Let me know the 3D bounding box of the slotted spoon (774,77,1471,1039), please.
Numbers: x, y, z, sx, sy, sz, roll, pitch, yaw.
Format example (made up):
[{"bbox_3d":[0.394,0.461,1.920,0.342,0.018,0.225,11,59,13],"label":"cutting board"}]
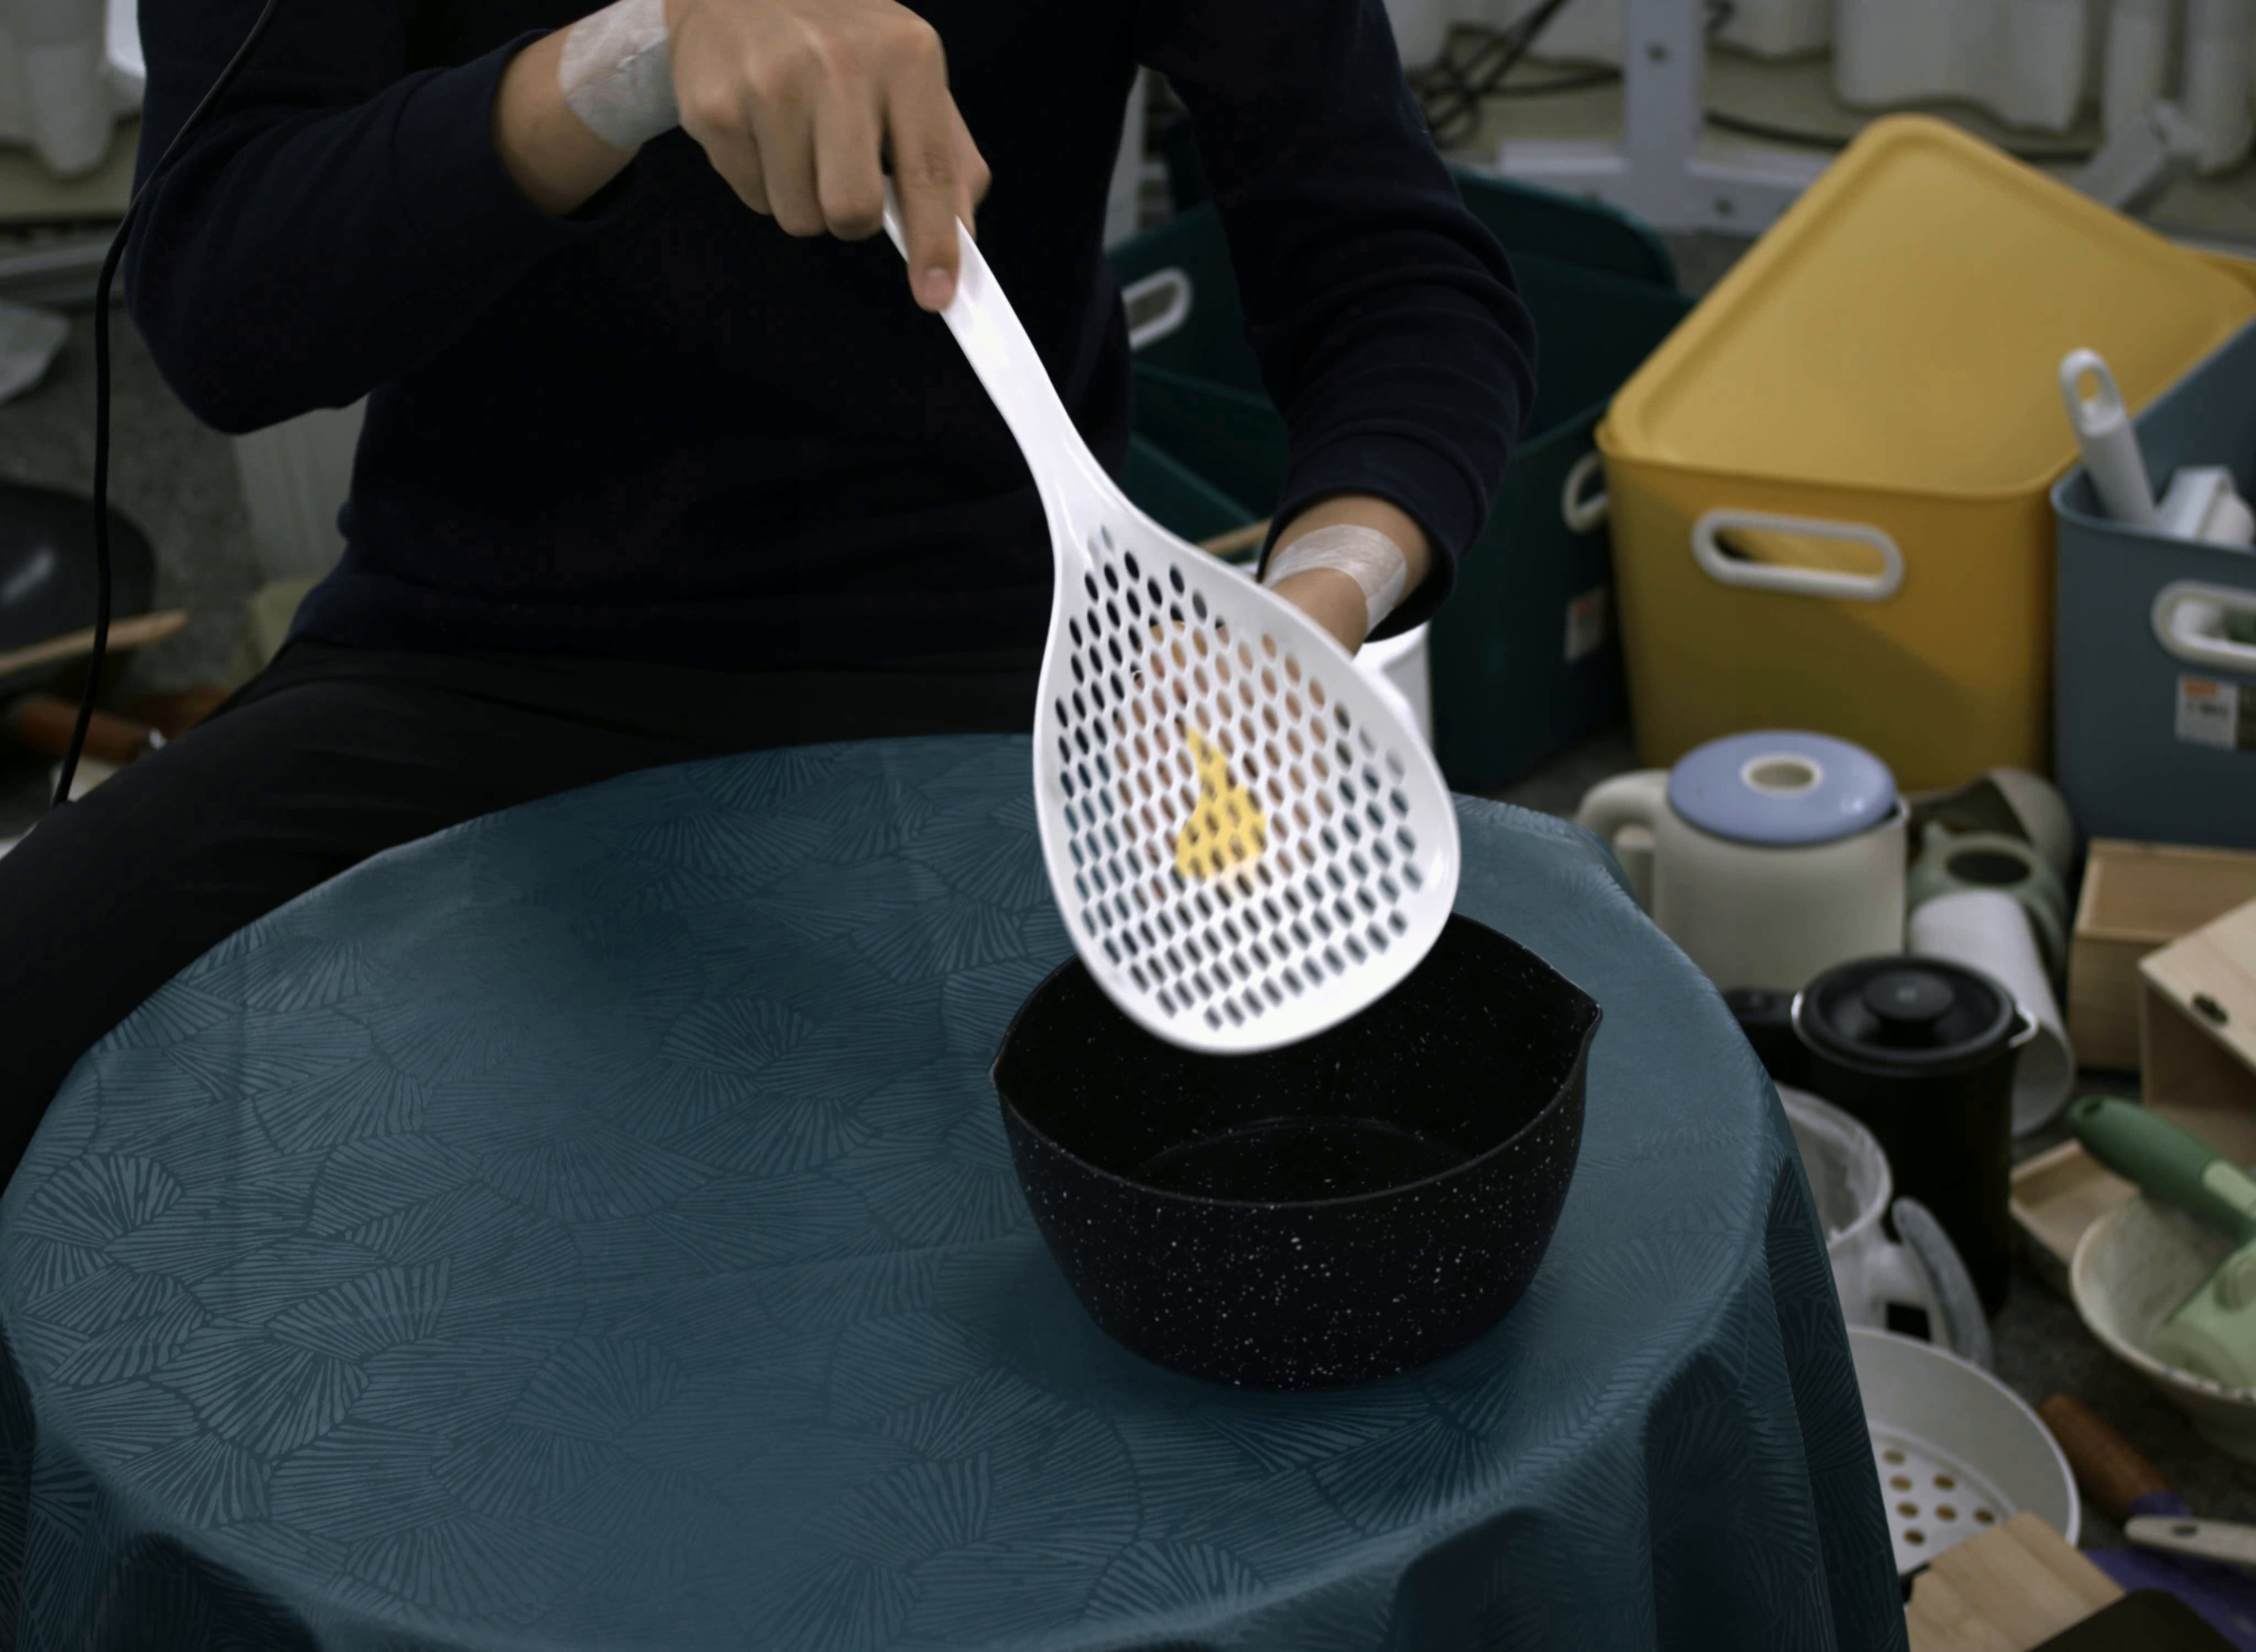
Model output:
[{"bbox_3d":[-0.014,-0.095,1.825,0.137,0.348,0.050,-30,3,-14],"label":"slotted spoon"}]

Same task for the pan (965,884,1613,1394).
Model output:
[{"bbox_3d":[0.041,0.055,1.861,0.207,0.107,0.347,-8,31,-6],"label":"pan"}]
